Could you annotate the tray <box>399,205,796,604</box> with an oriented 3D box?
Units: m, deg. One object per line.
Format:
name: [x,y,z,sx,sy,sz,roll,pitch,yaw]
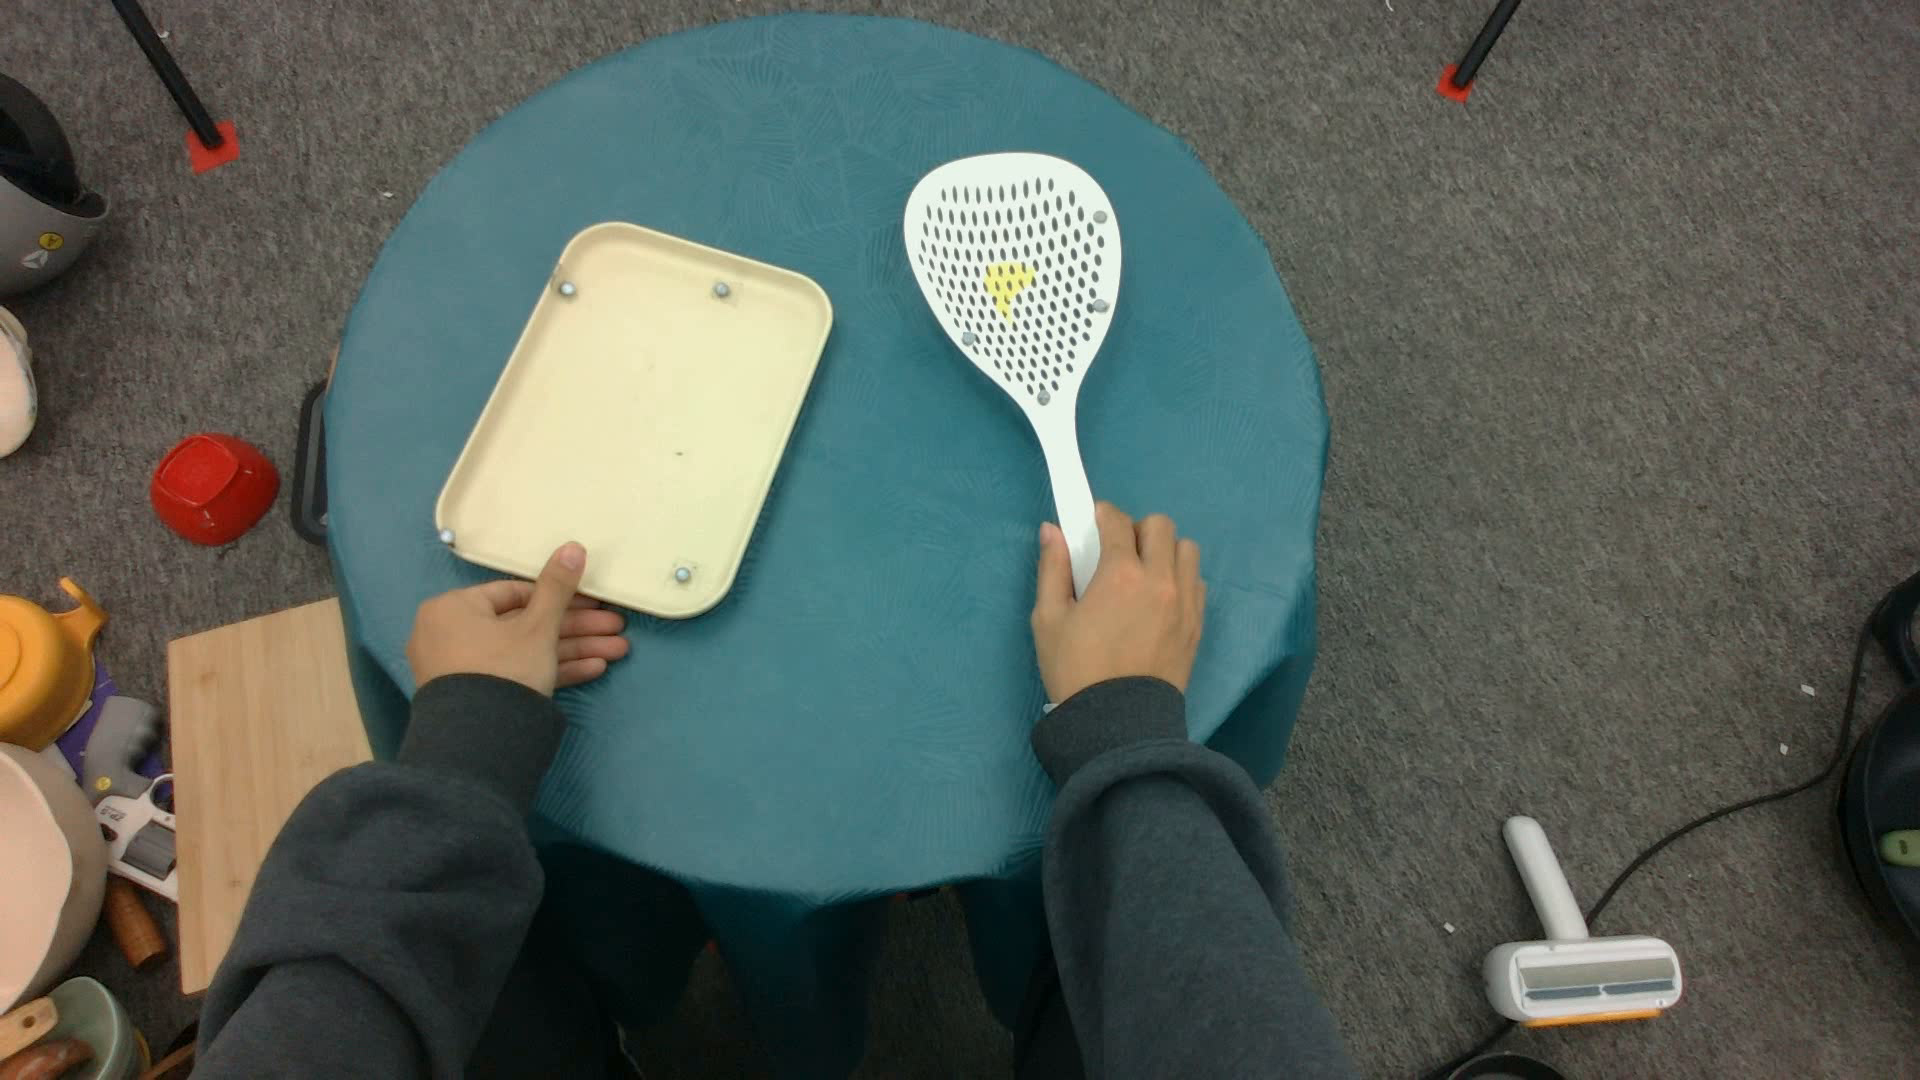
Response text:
tray: [-0.205,-0.083,0.804,0.171,0.017,0.240,17,65,0]

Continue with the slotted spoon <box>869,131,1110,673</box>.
slotted spoon: [0.035,-0.090,0.824,0.137,0.050,0.349,-9,68,-13]
